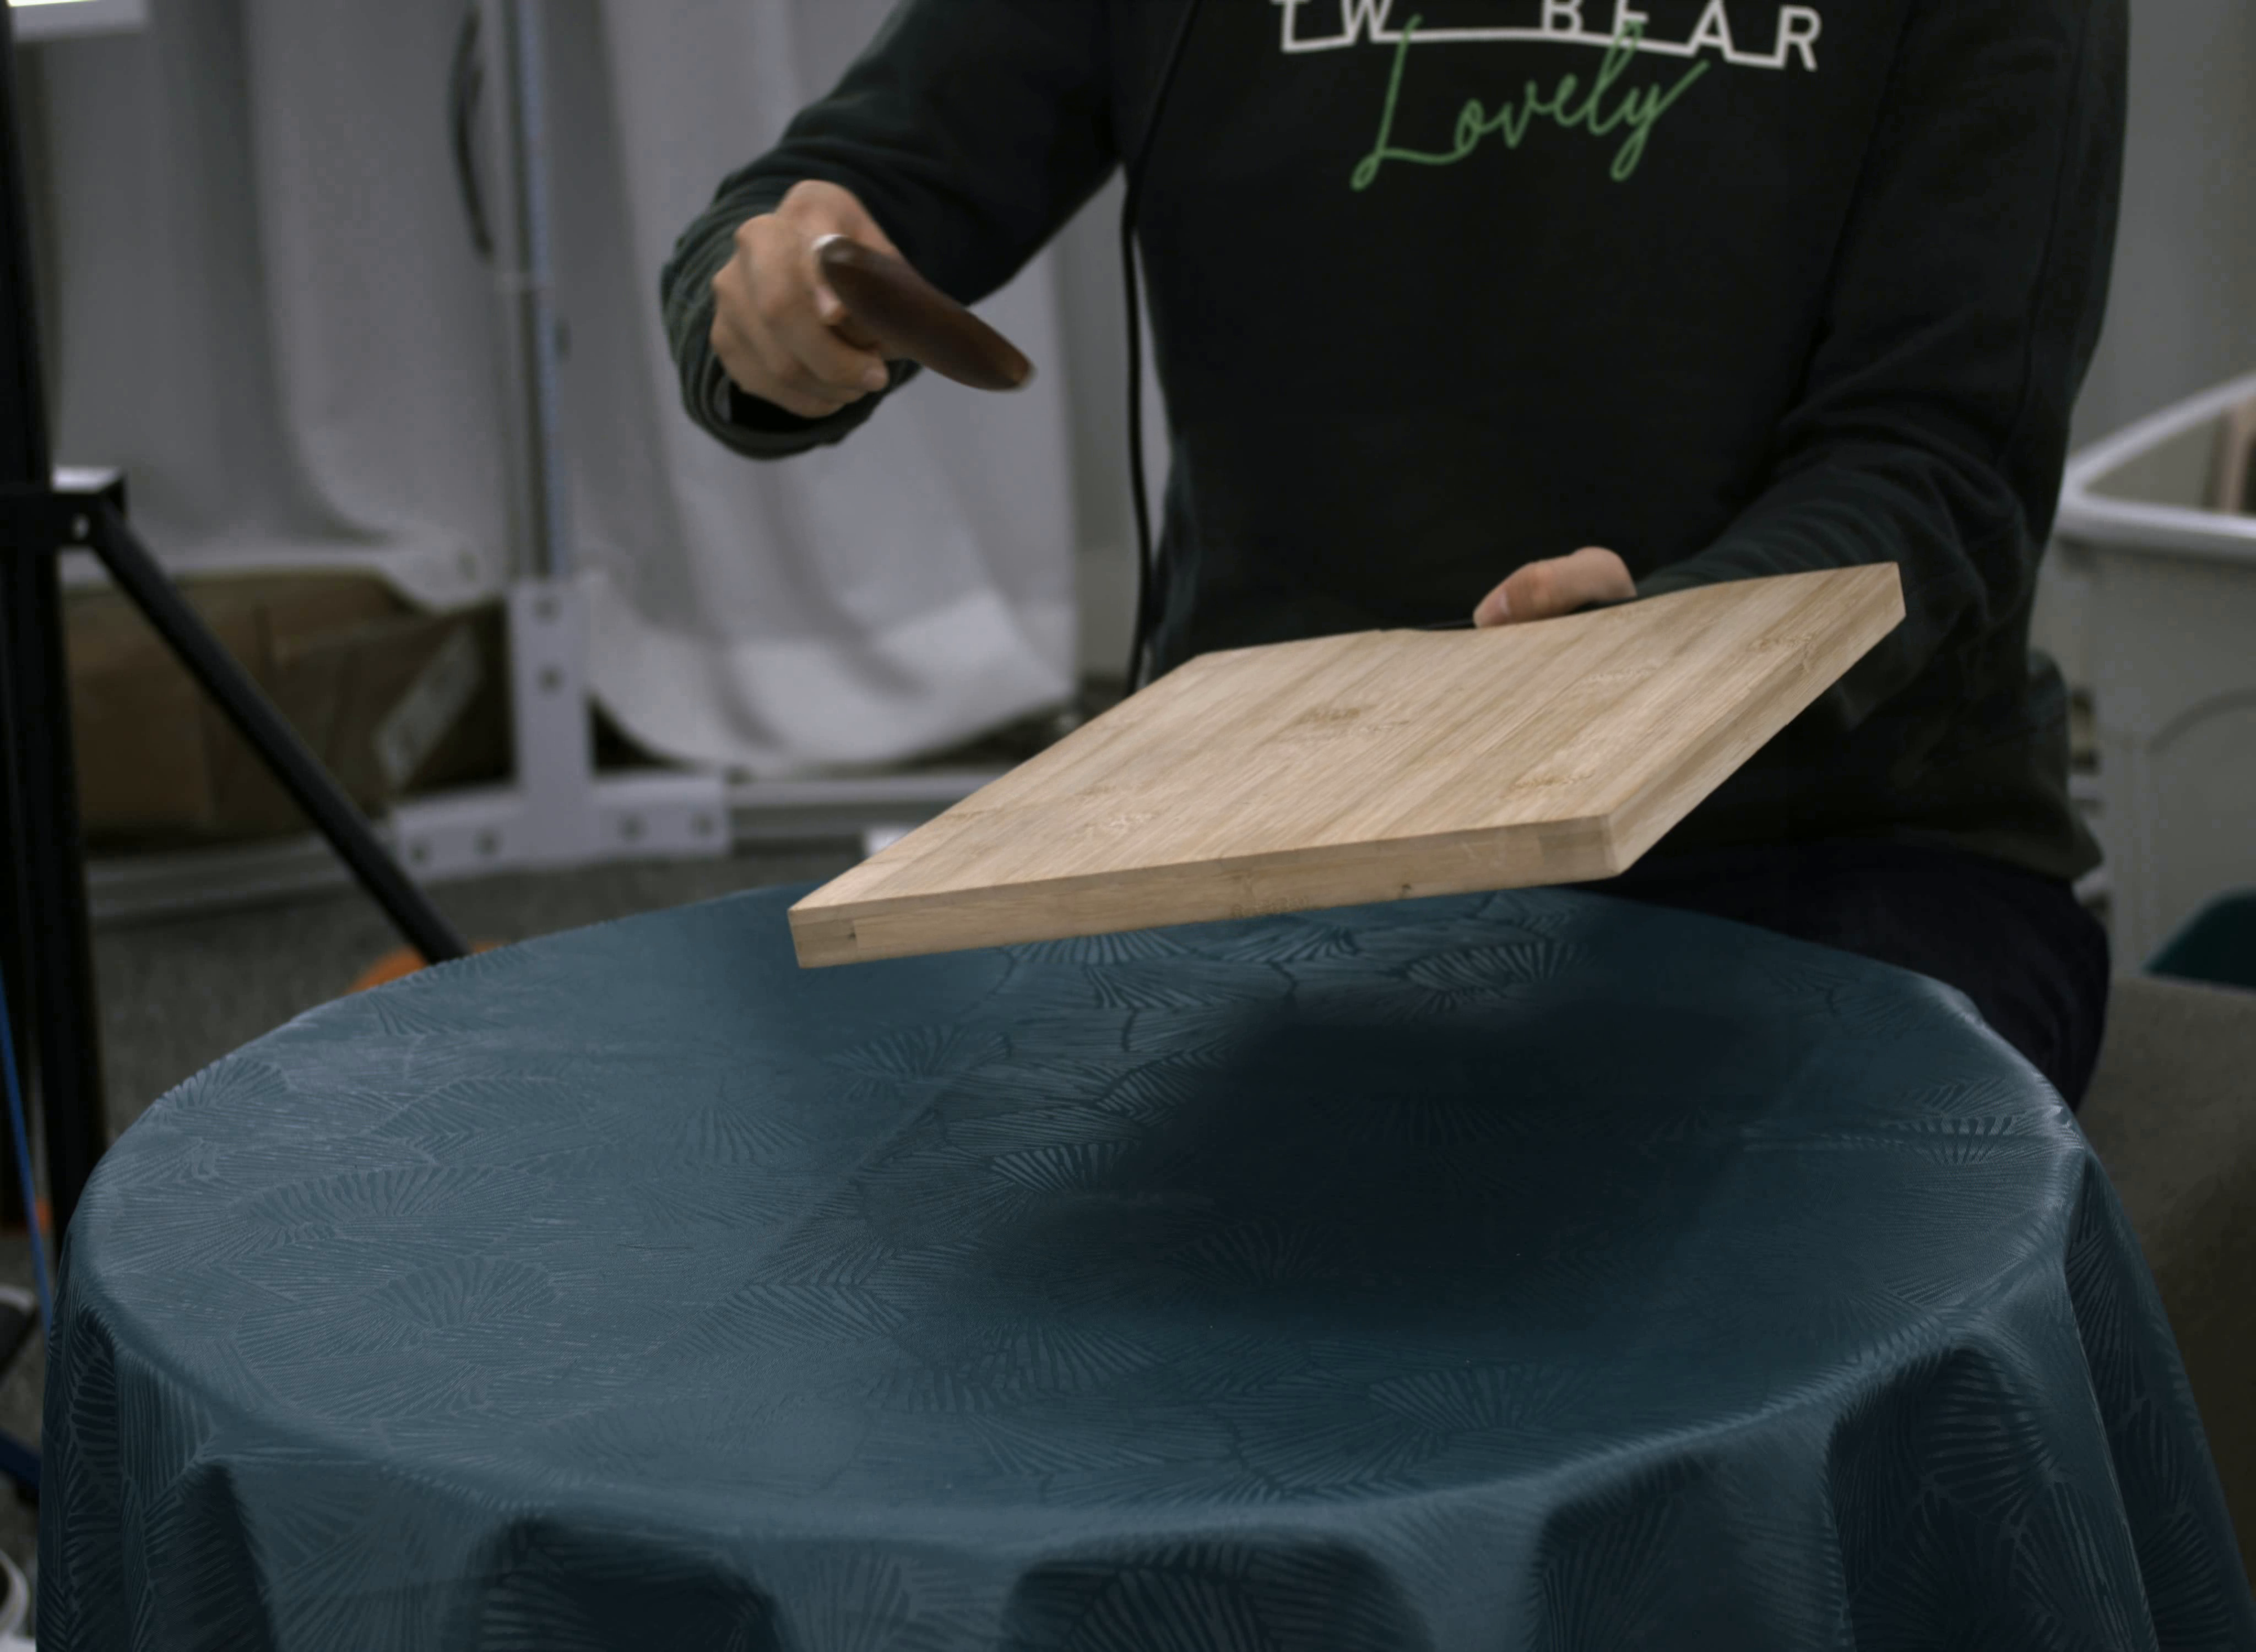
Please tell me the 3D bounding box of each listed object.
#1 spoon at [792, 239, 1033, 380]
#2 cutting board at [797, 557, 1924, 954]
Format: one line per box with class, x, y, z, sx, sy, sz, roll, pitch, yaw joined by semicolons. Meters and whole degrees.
spoon;-0.077;-0.155;1.630;0.074;0.017;0.218;29;-1;-13
cutting board;0.079;-0.022;1.570;0.254;0.023;0.344;-7;11;22
